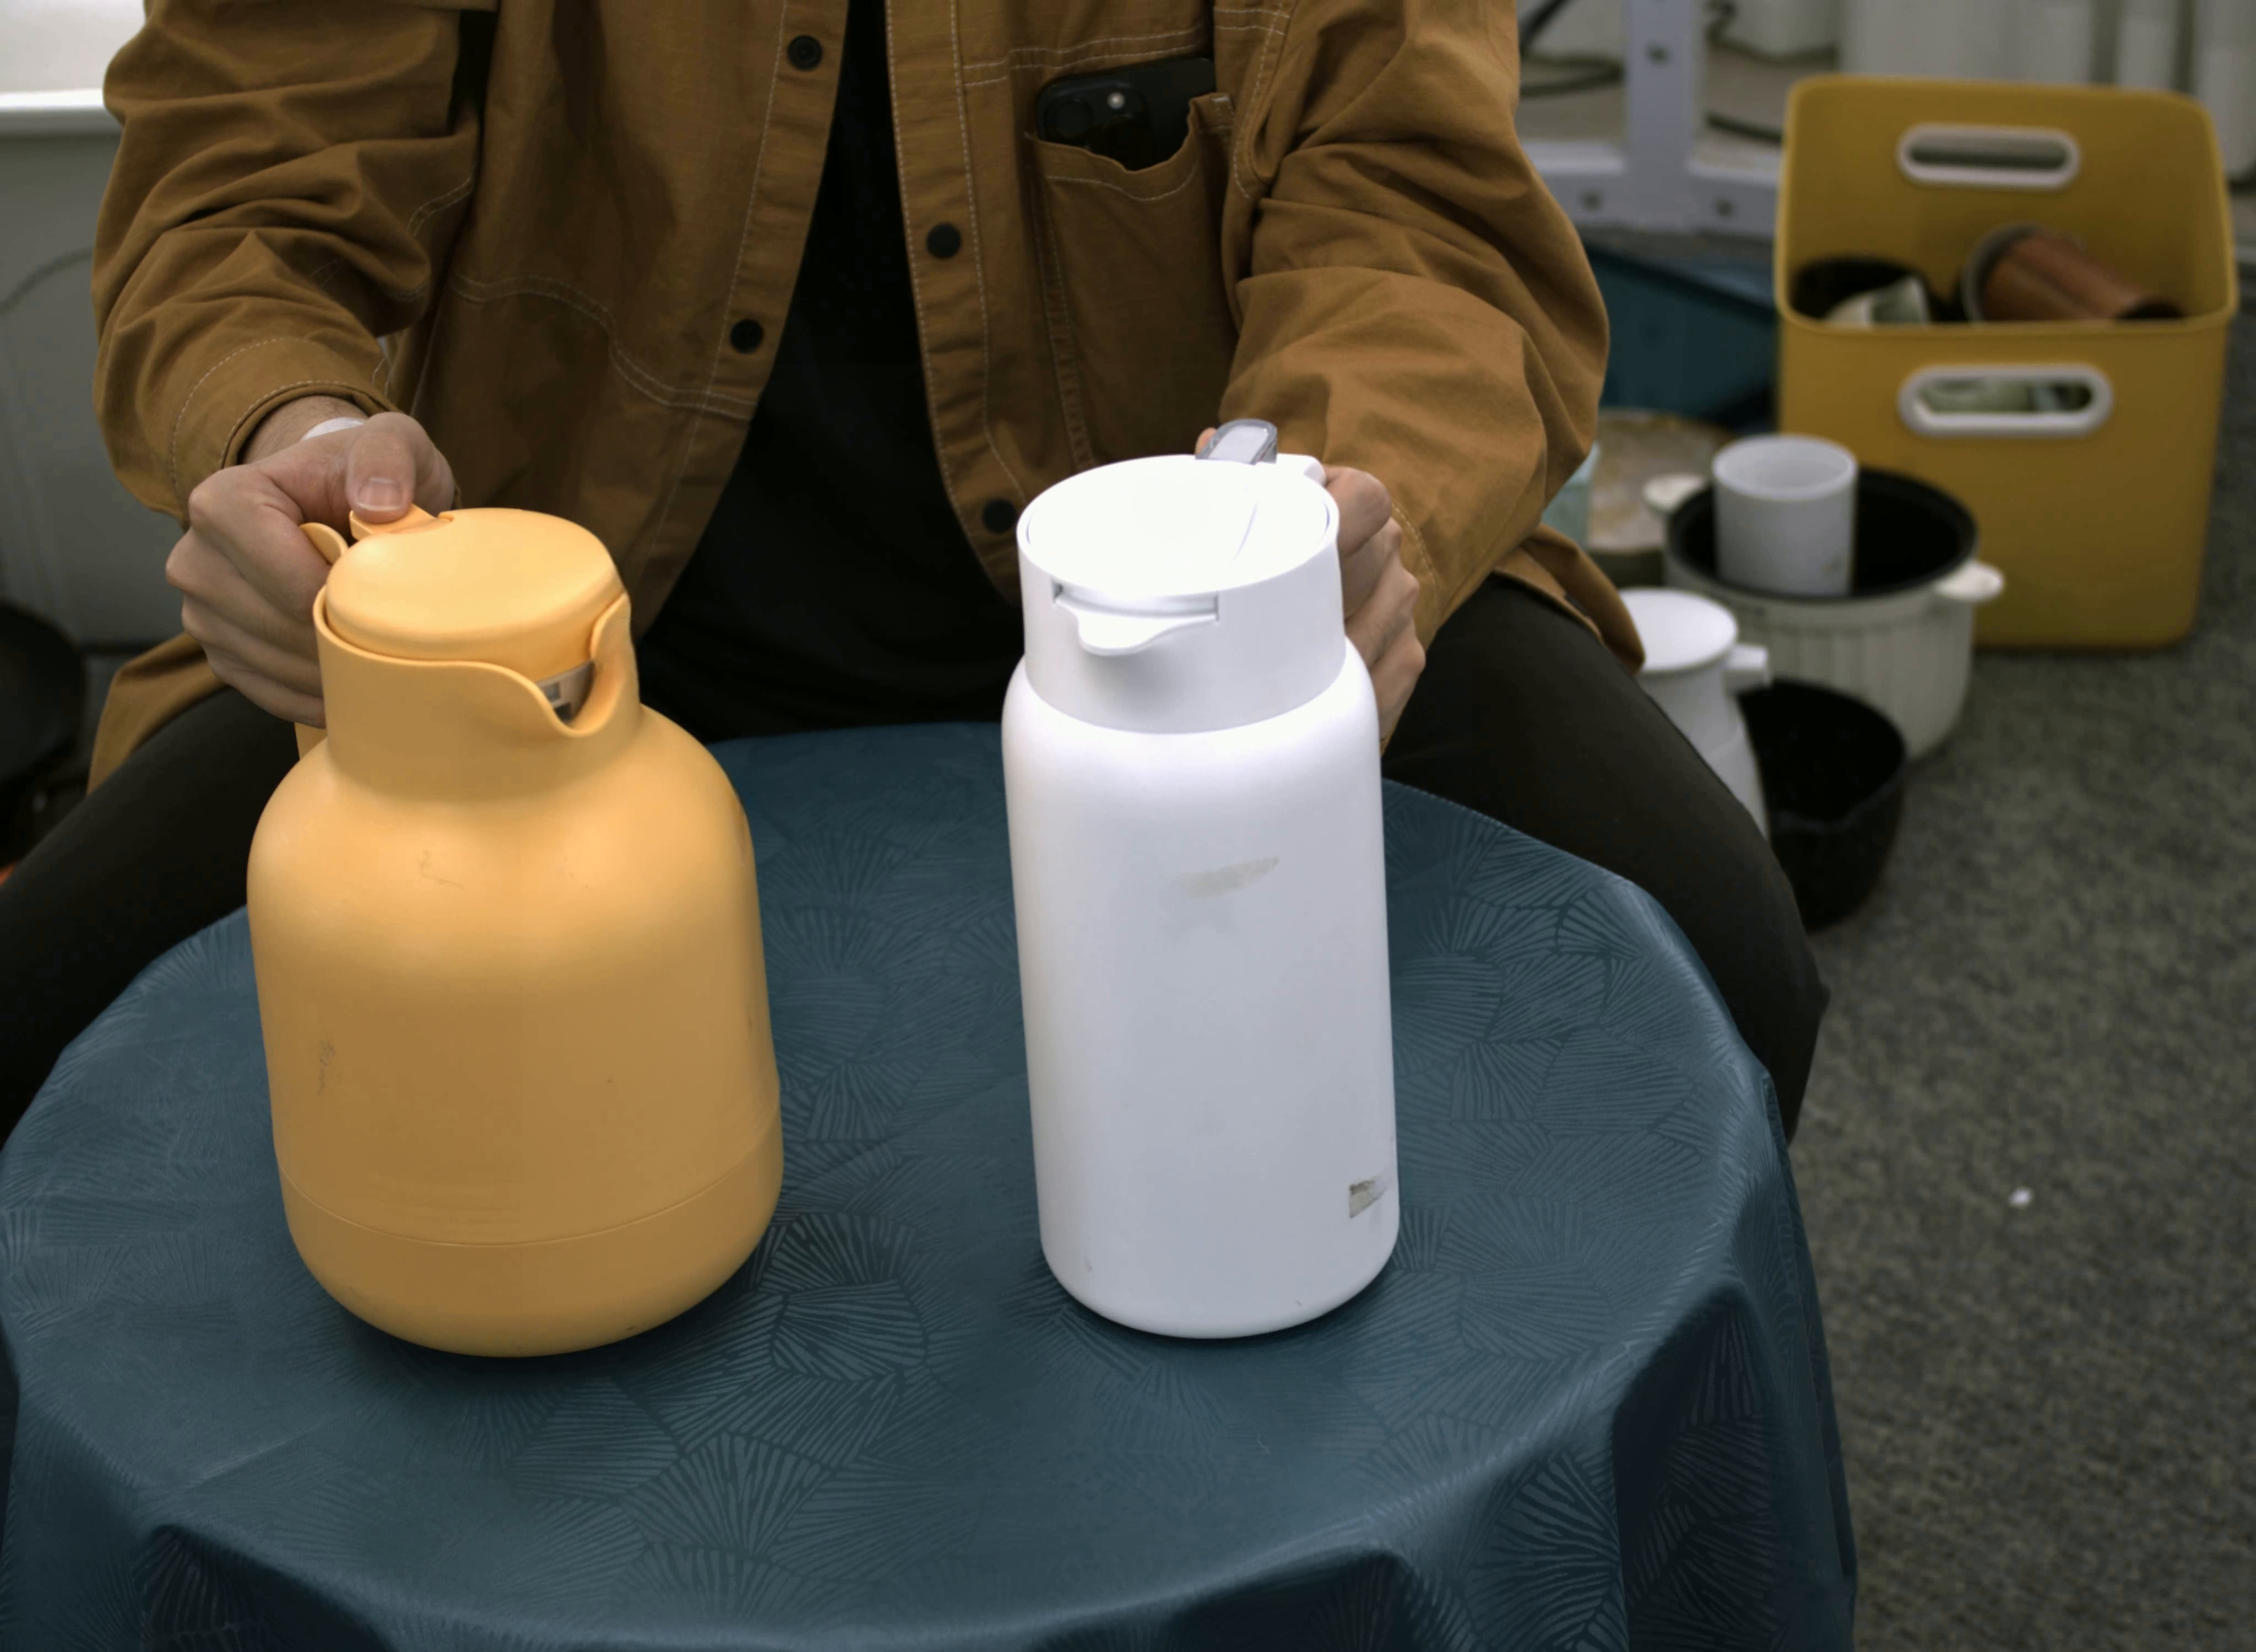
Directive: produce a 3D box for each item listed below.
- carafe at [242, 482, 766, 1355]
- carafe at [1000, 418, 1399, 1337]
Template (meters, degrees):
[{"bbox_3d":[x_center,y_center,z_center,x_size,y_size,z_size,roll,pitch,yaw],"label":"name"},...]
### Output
[{"bbox_3d":[-0.207,0.019,1.793,0.164,0.257,0.203,-14,31,-28],"label":"carafe"},{"bbox_3d":[0.026,0.013,1.778,0.123,0.266,0.176,4,28,19],"label":"carafe"}]
